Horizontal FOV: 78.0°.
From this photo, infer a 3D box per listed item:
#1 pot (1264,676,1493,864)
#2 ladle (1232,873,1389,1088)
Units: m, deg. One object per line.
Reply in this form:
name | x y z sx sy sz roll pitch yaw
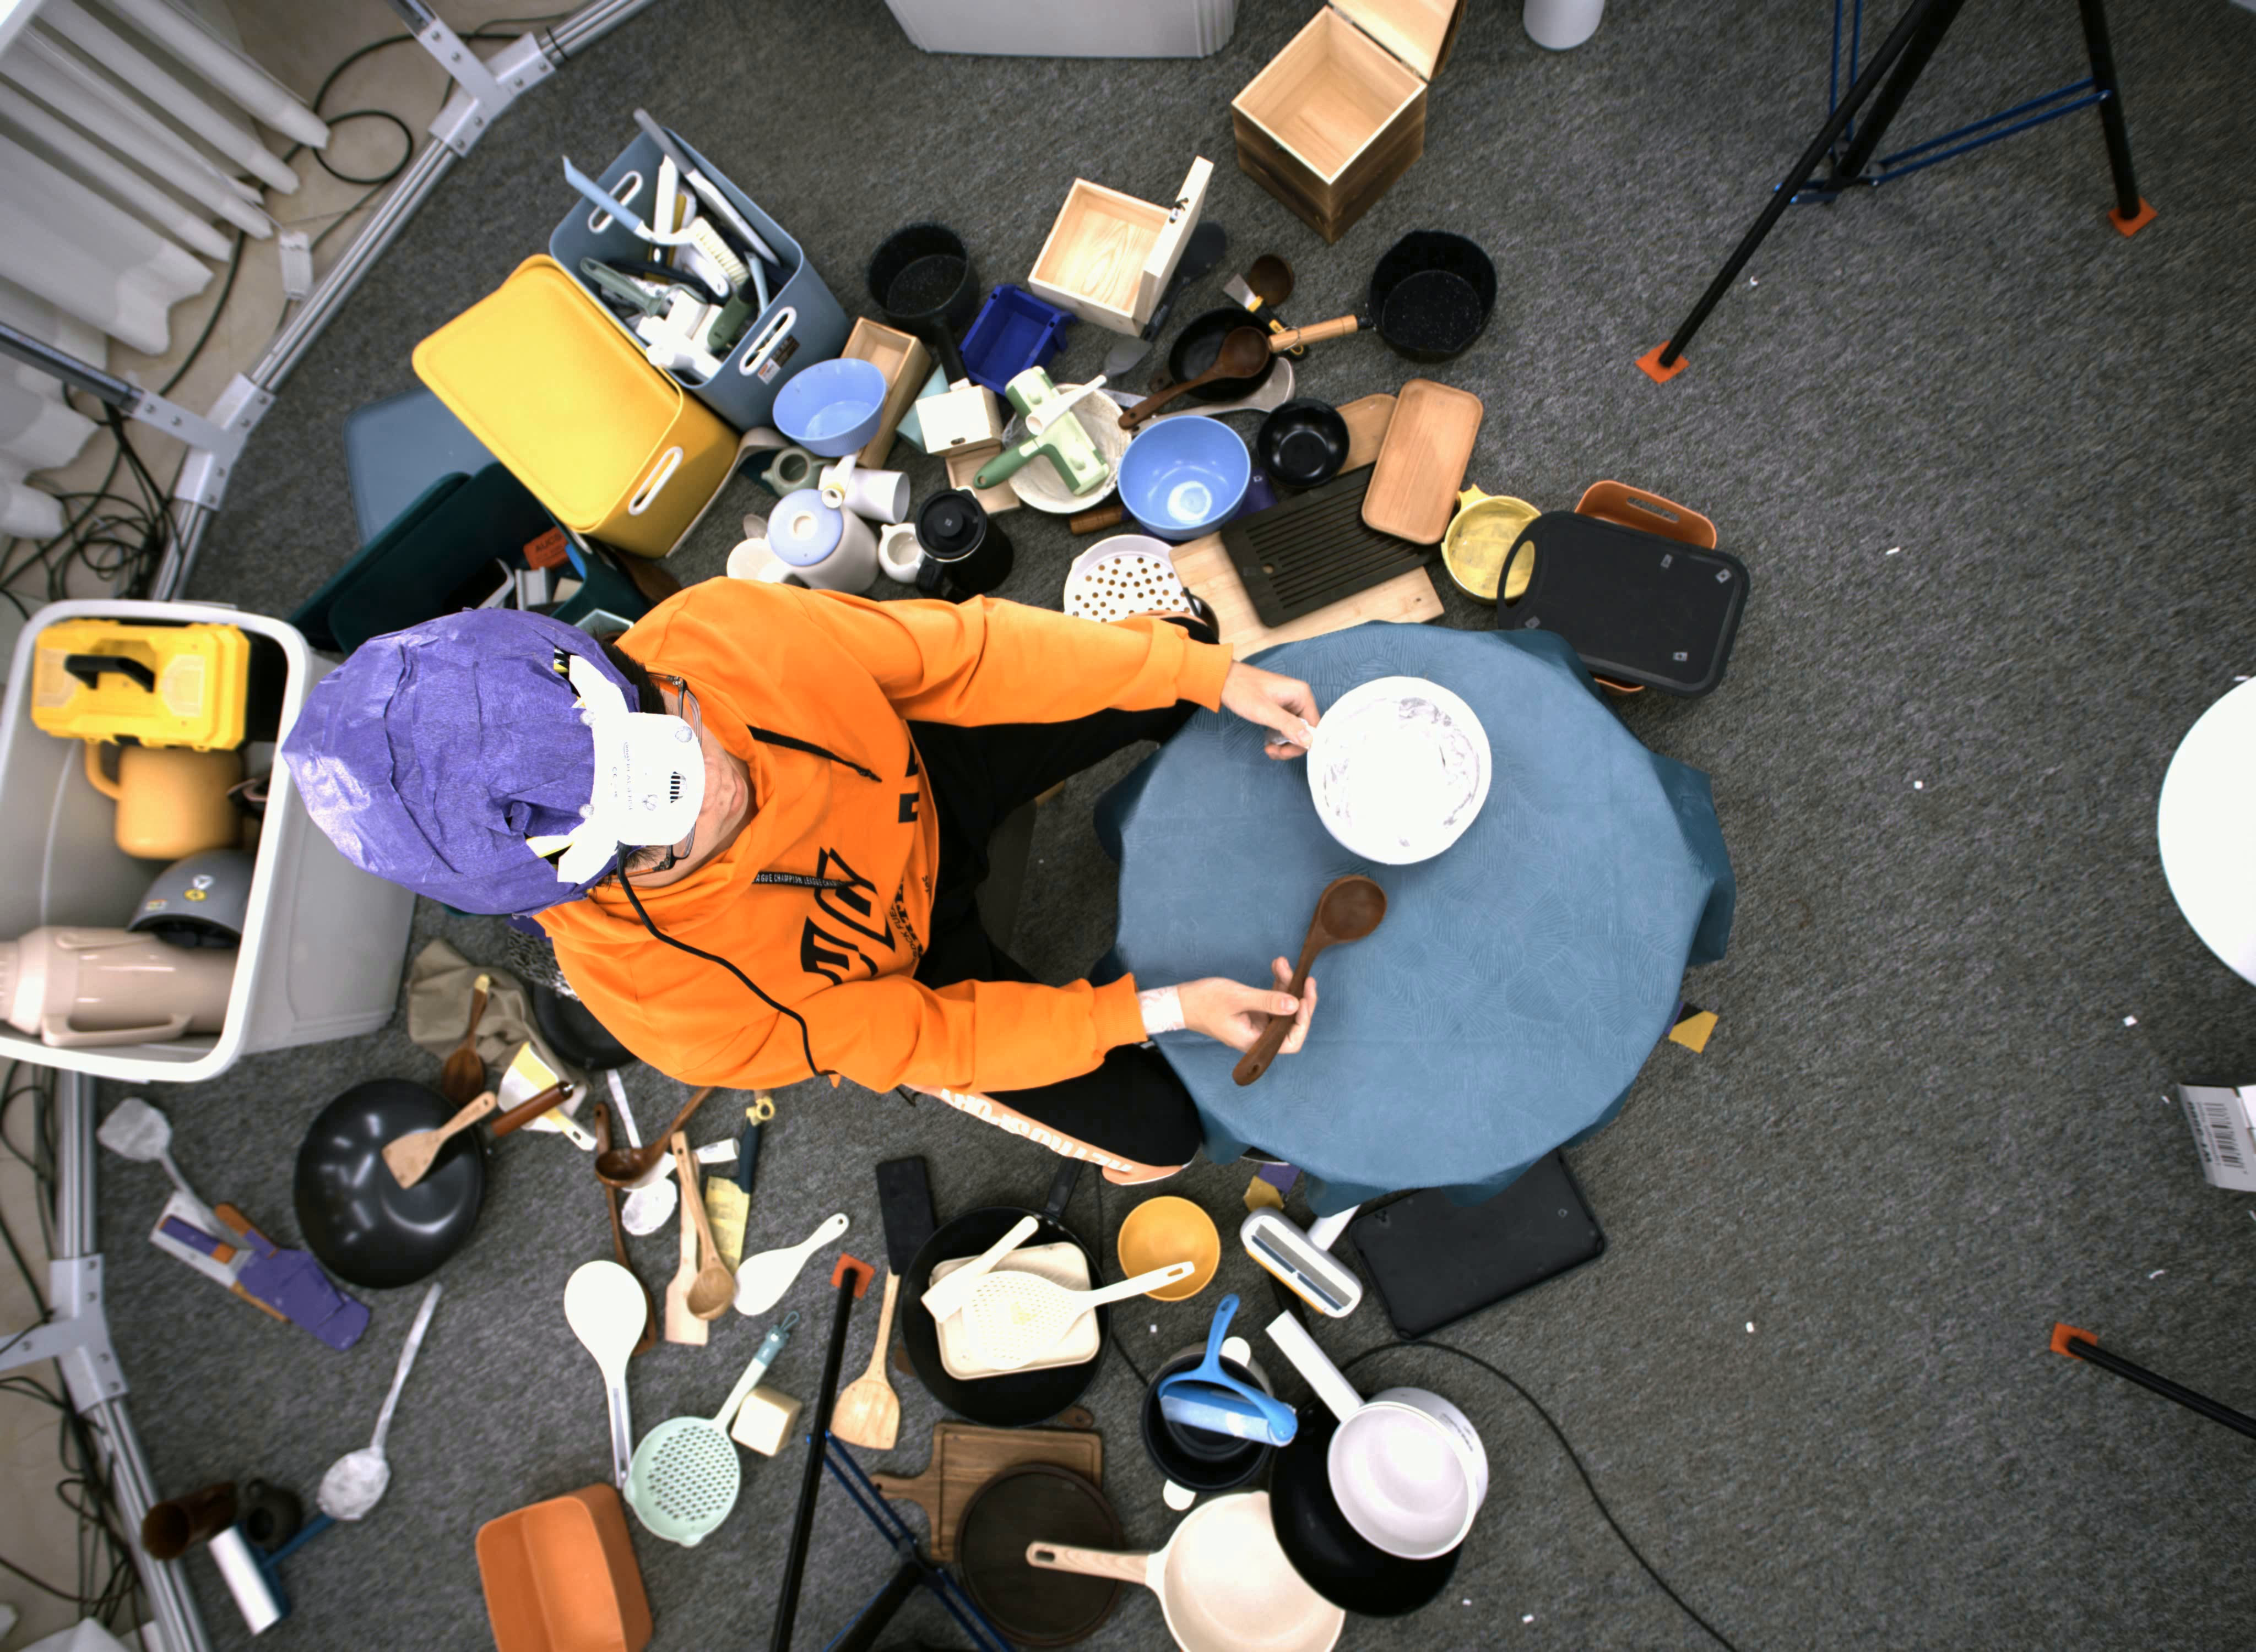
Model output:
pot | 0.248 -0.063 1.402 0.234 0.137 0.178 20 89 11
ladle | 0.185 0.154 1.392 0.077 0.066 0.254 47 60 -24
